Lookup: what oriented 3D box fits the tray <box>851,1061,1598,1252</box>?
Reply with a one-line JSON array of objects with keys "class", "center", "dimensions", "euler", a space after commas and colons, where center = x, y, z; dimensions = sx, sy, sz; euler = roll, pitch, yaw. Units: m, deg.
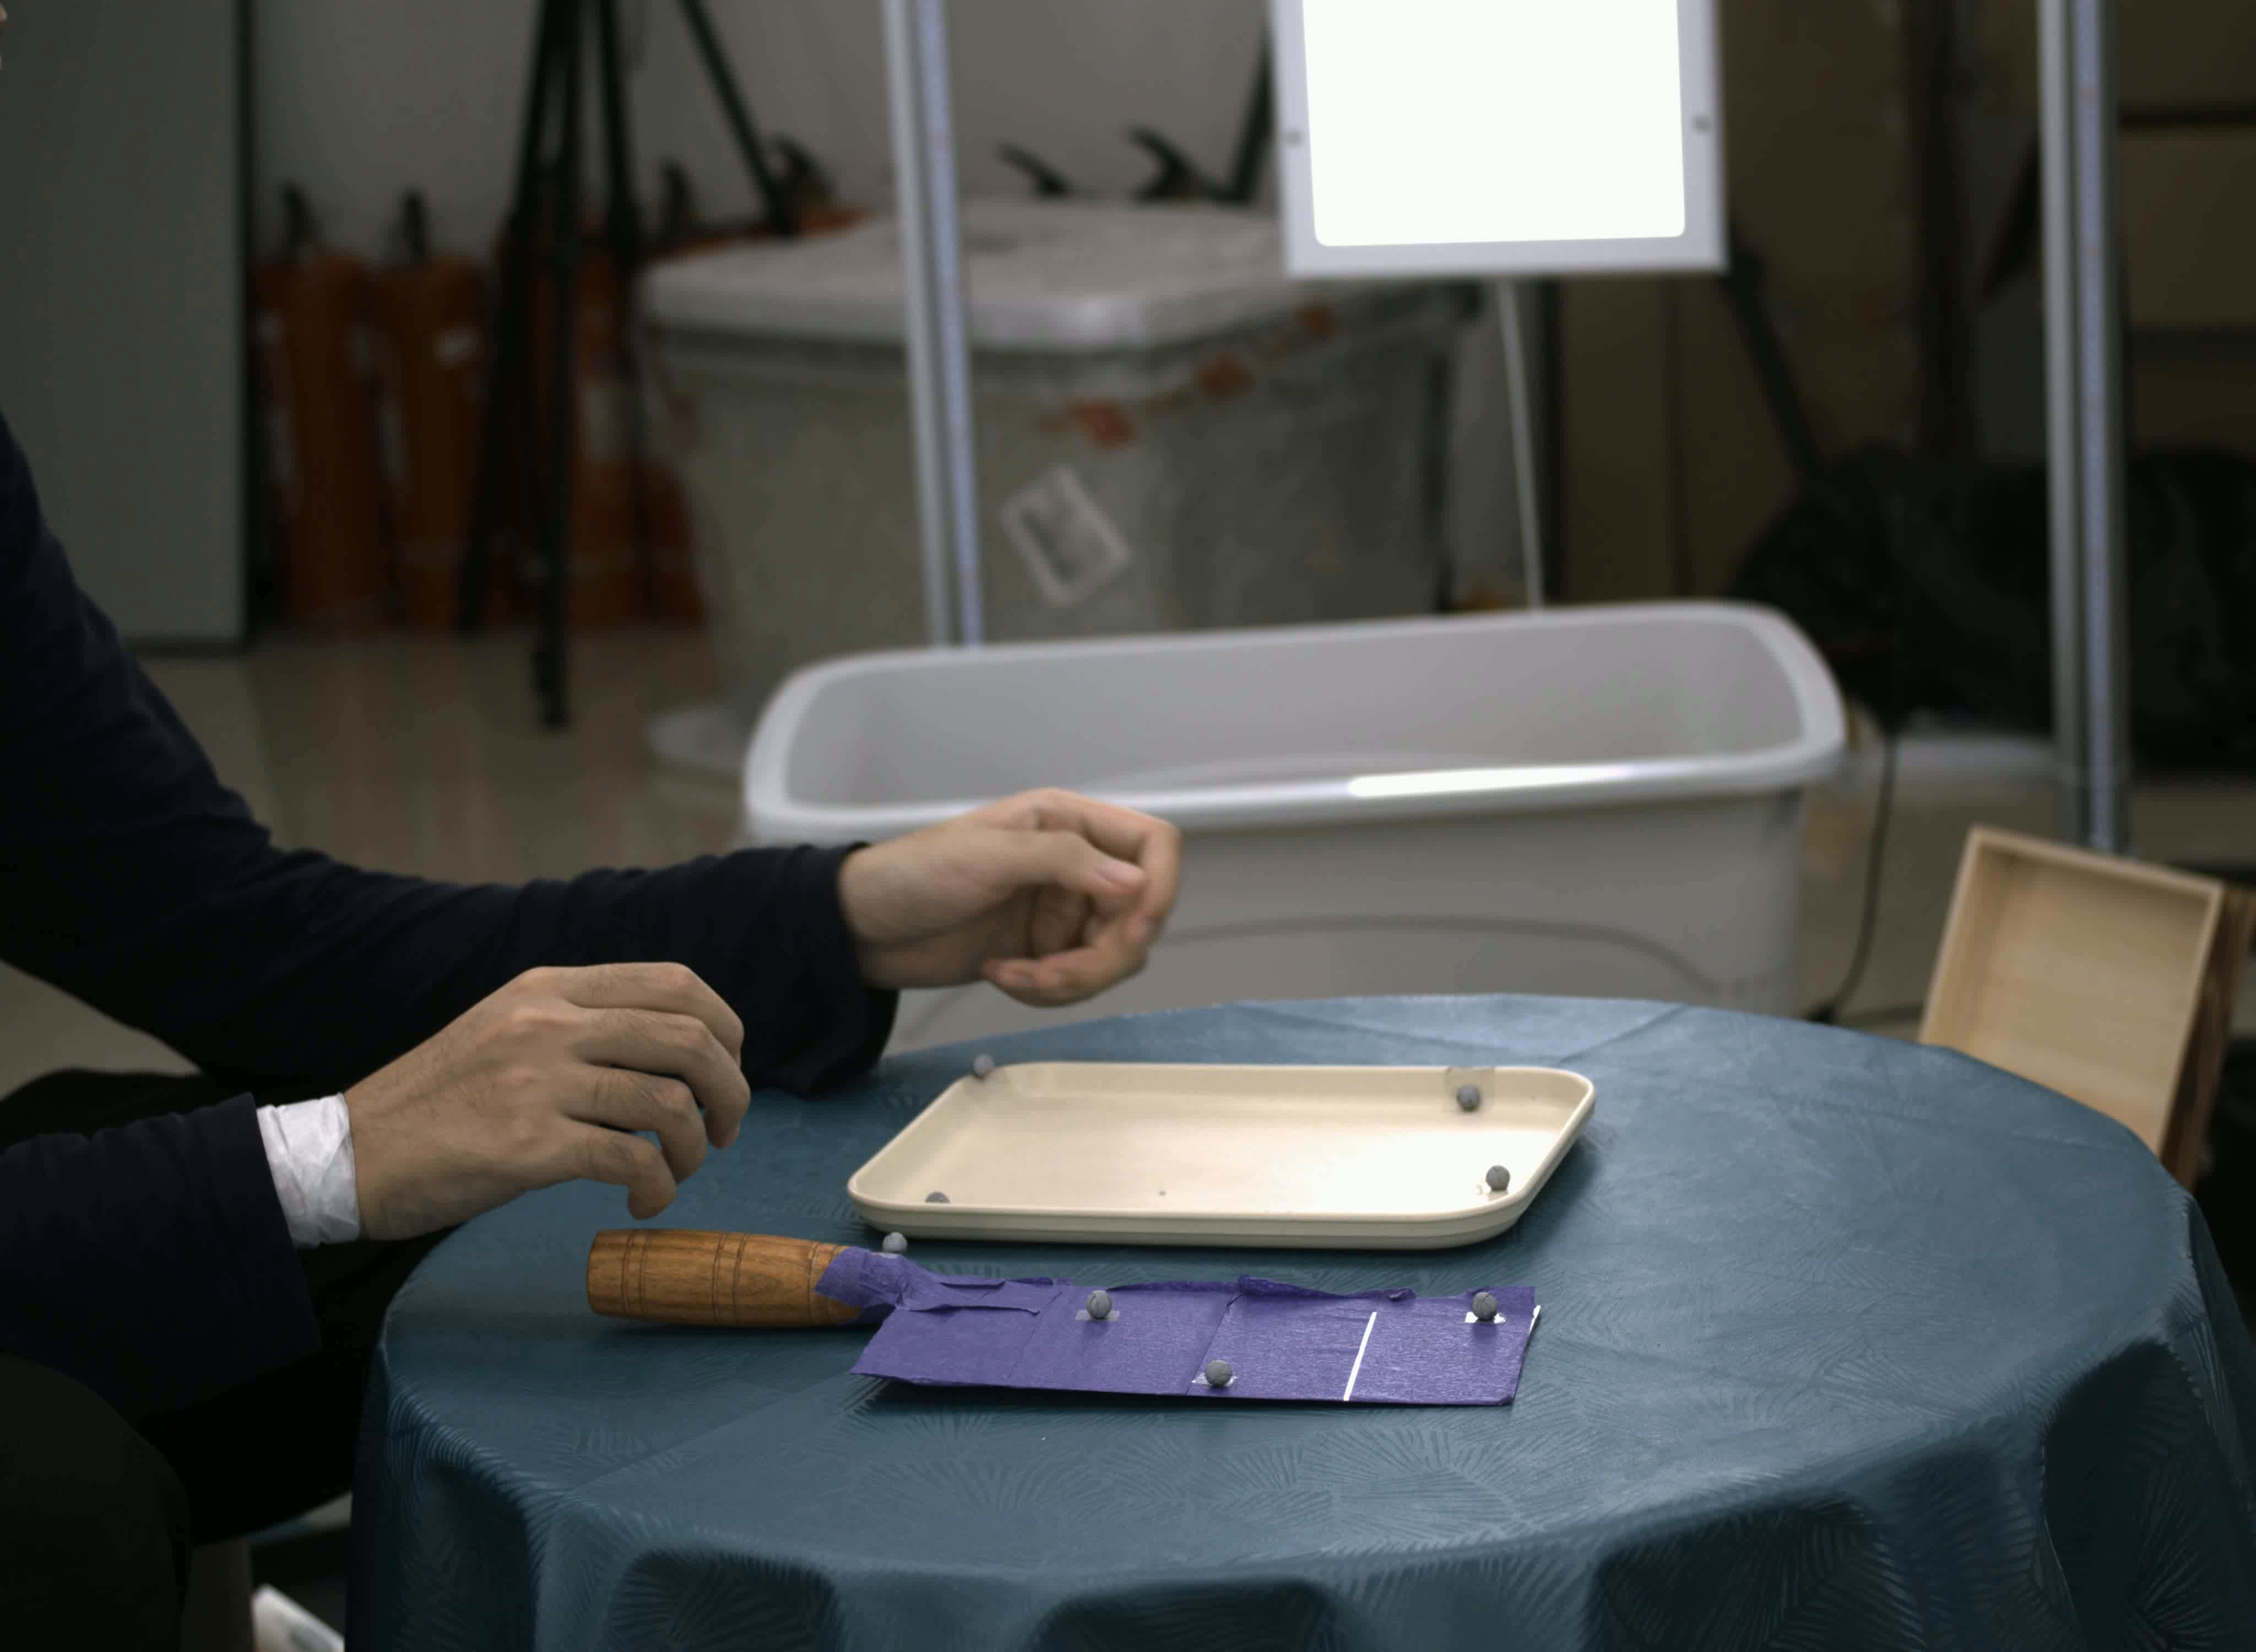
[{"class": "tray", "center": [0.035, 0.114, 1.904], "dimensions": [0.243, 0.017, 0.168], "euler": [0, 15, 20]}]

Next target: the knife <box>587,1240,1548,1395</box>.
[{"class": "knife", "center": [-0.027, 0.155, 1.739], "dimensions": [0.318, 0.032, 0.102], "euler": [-1, 14, 14]}]
